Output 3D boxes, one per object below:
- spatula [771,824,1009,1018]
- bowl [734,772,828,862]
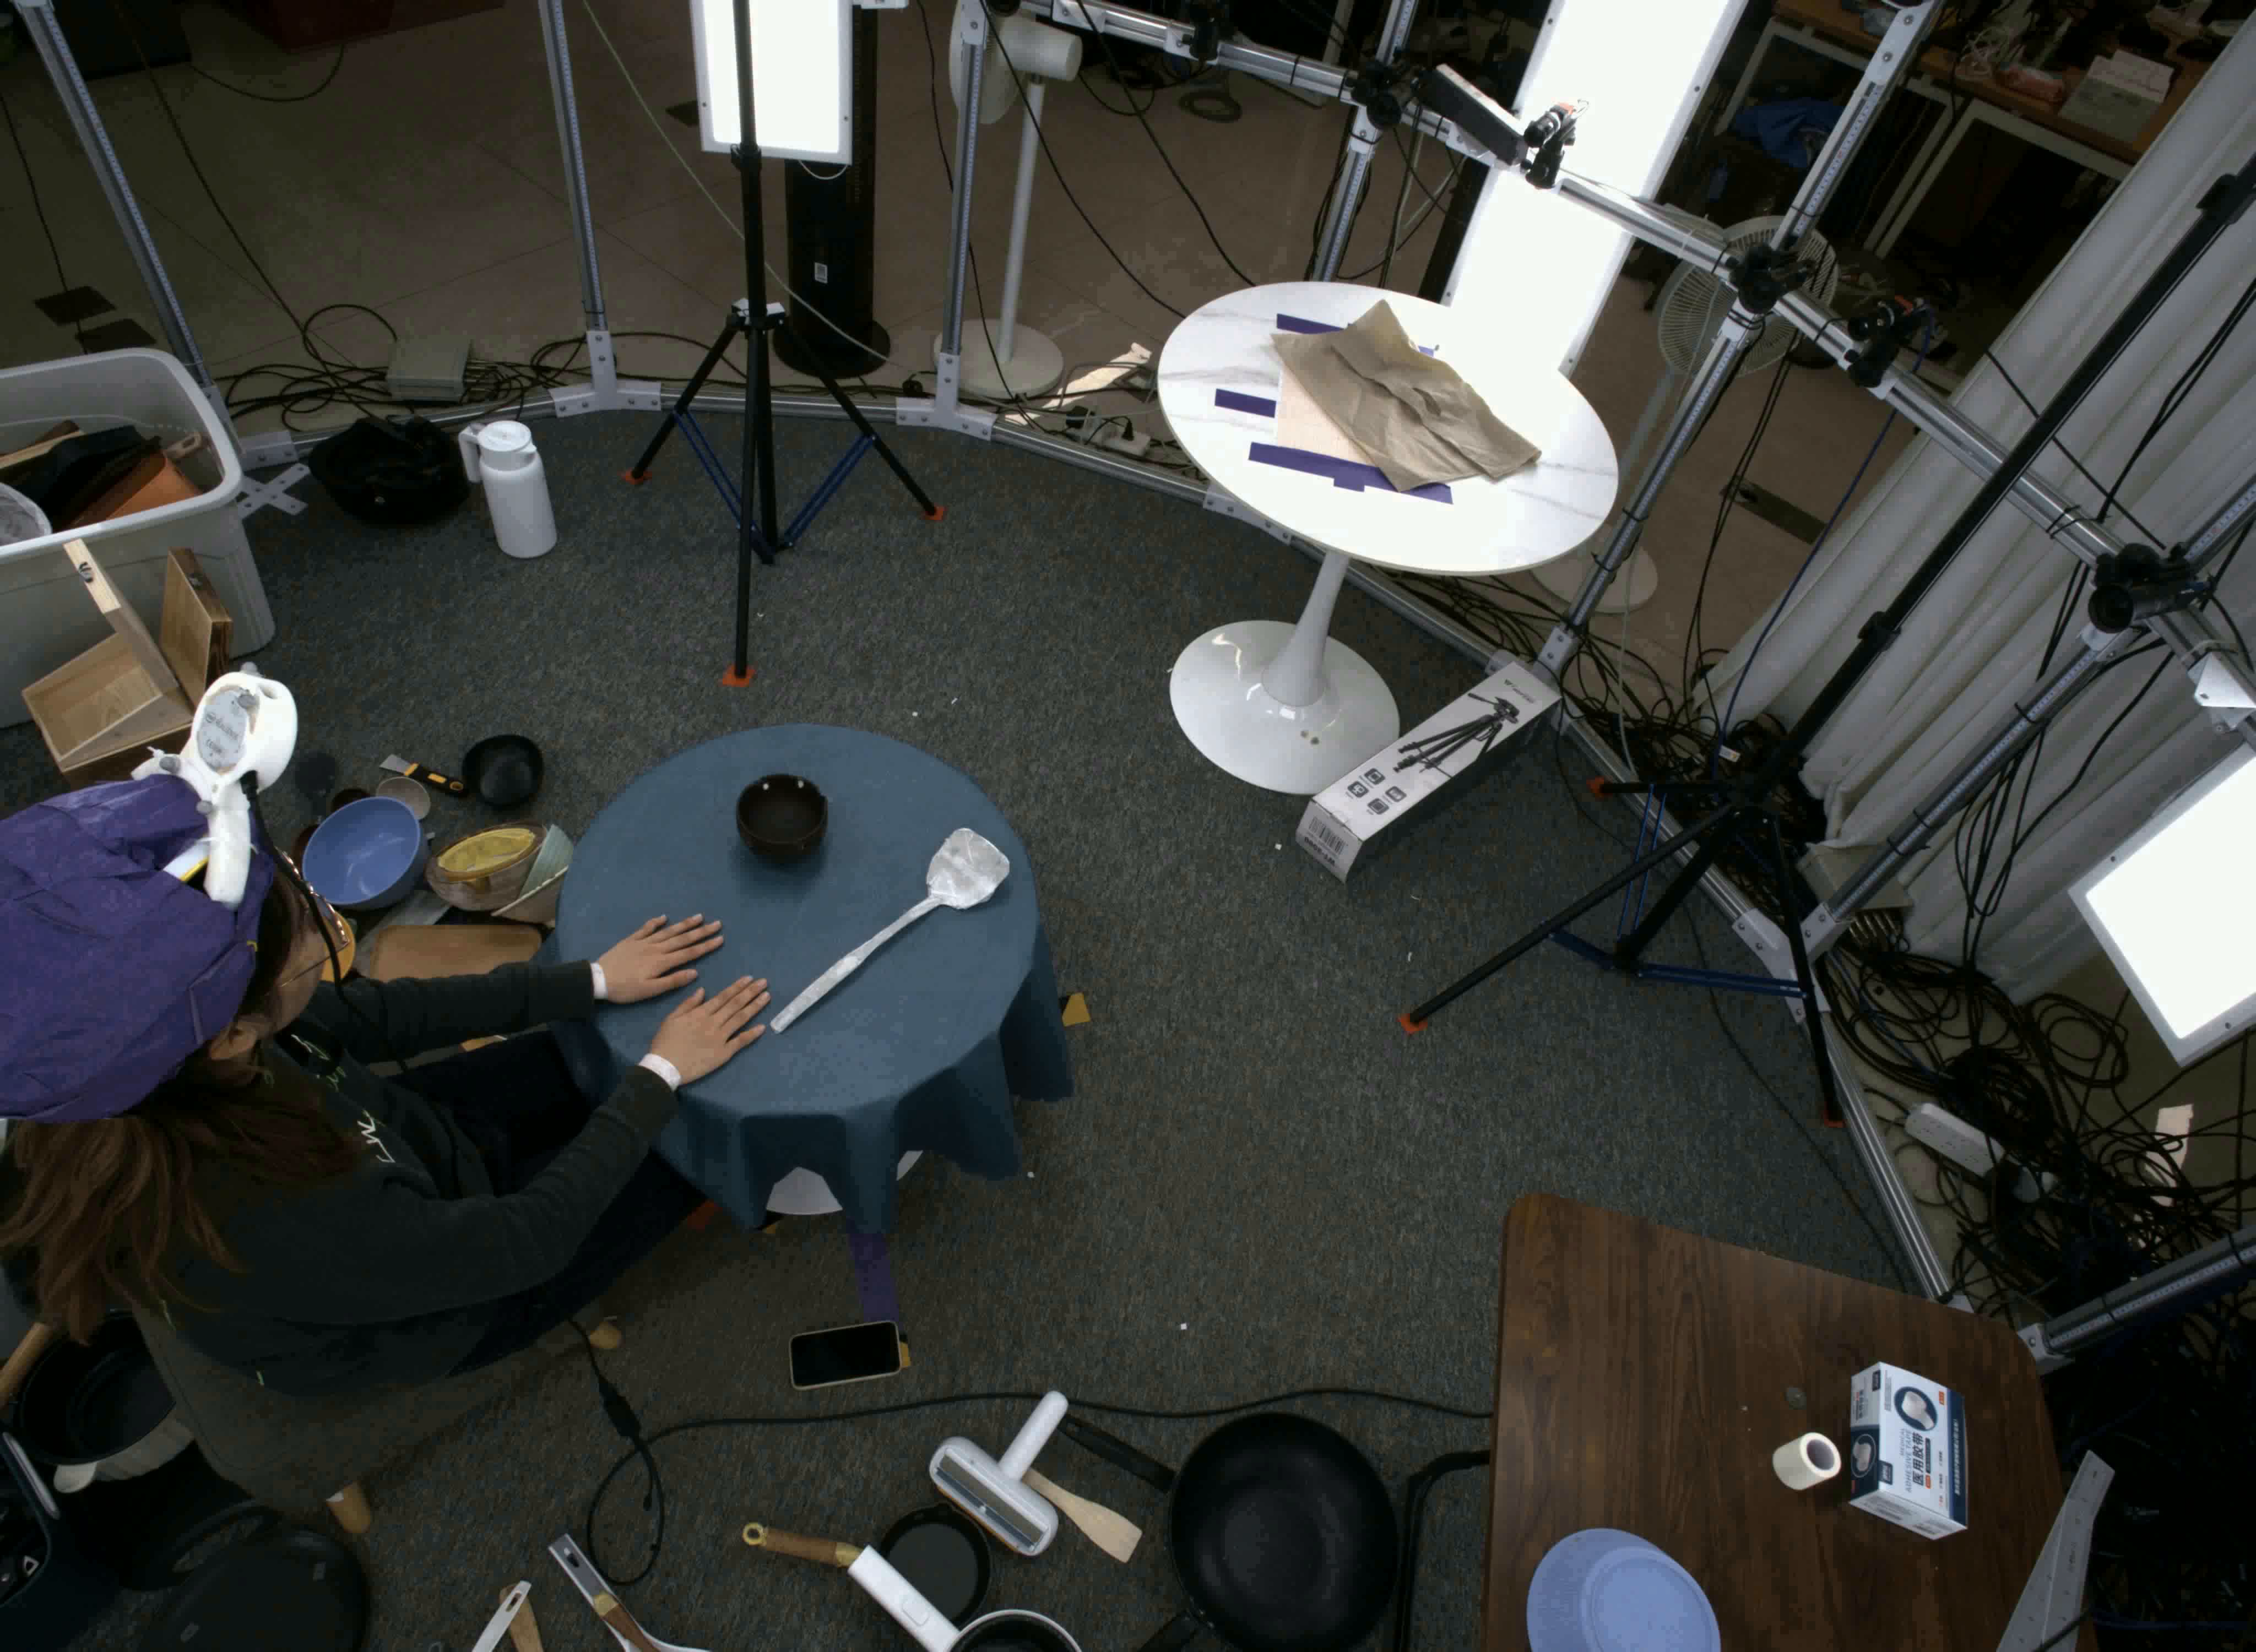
[{"bbox_3d":[-0.302,0.125,1.643,0.097,0.045,0.365,41,55,15],"label":"spatula"},{"bbox_3d":[-0.448,-0.004,1.680,0.117,0.071,0.116,6,52,-7],"label":"bowl"}]
